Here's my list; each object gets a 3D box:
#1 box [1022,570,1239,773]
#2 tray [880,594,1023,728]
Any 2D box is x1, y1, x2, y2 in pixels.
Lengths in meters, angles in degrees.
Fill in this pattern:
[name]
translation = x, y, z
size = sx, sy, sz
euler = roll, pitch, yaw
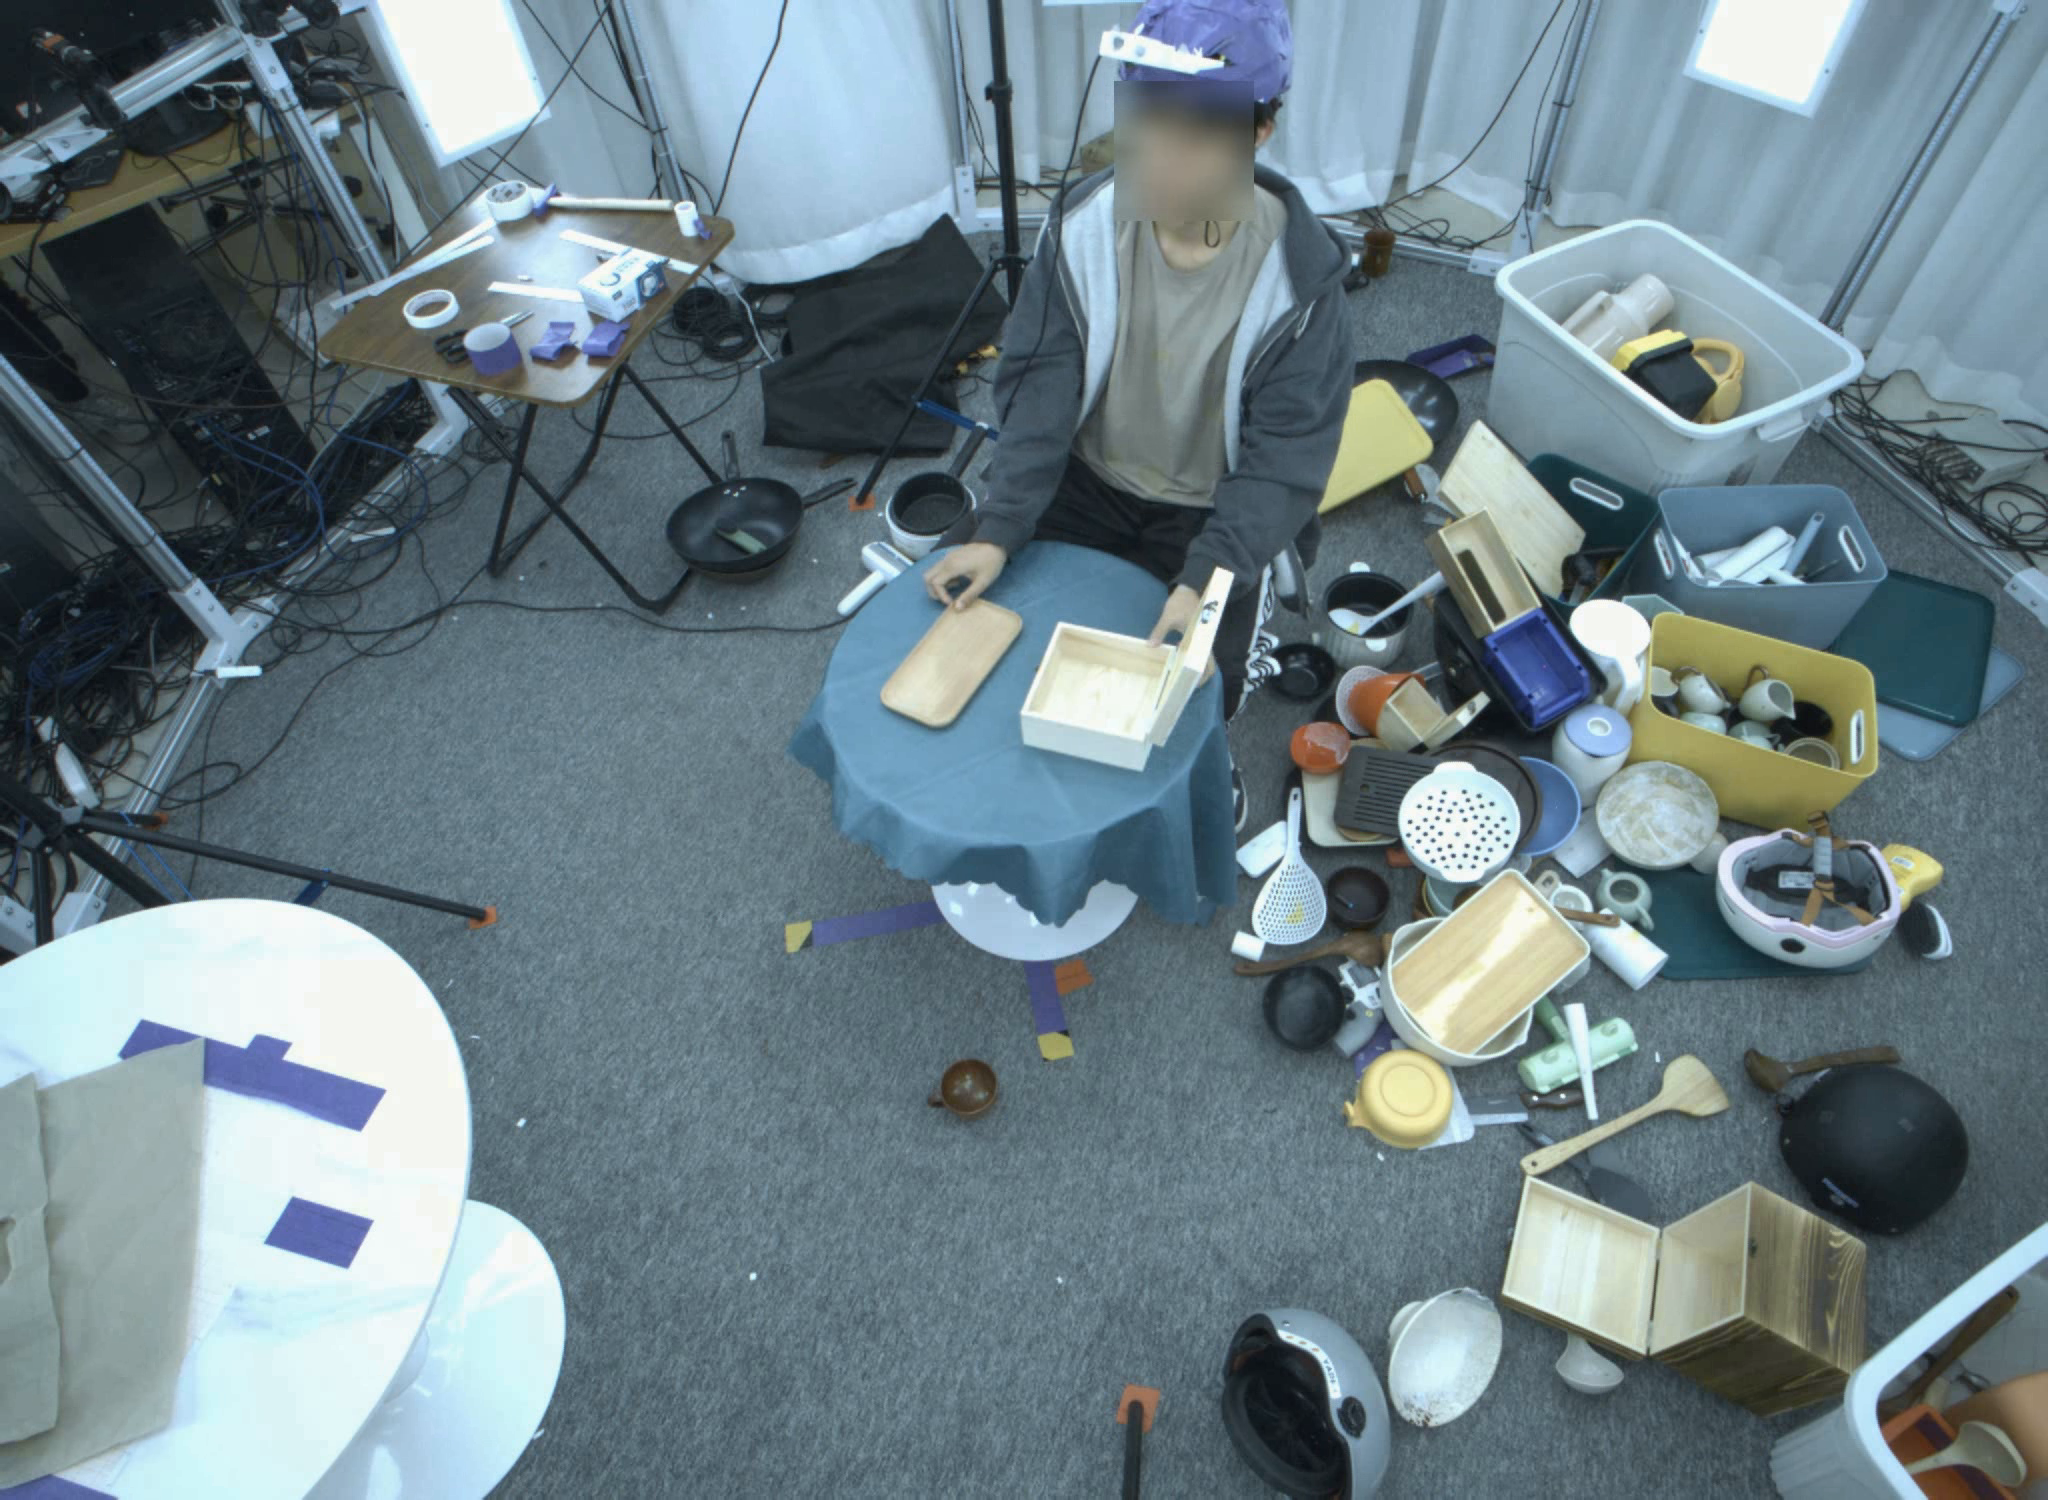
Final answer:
[box]
translation = 0.141, -0.123, 1.722
size = 0.263, 0.256, 0.181
euler = 13, 54, 11
[tray]
translation = -0.109, -0.138, 1.881
size = 0.129, 0.023, 0.251
euler = 26, 59, 16
